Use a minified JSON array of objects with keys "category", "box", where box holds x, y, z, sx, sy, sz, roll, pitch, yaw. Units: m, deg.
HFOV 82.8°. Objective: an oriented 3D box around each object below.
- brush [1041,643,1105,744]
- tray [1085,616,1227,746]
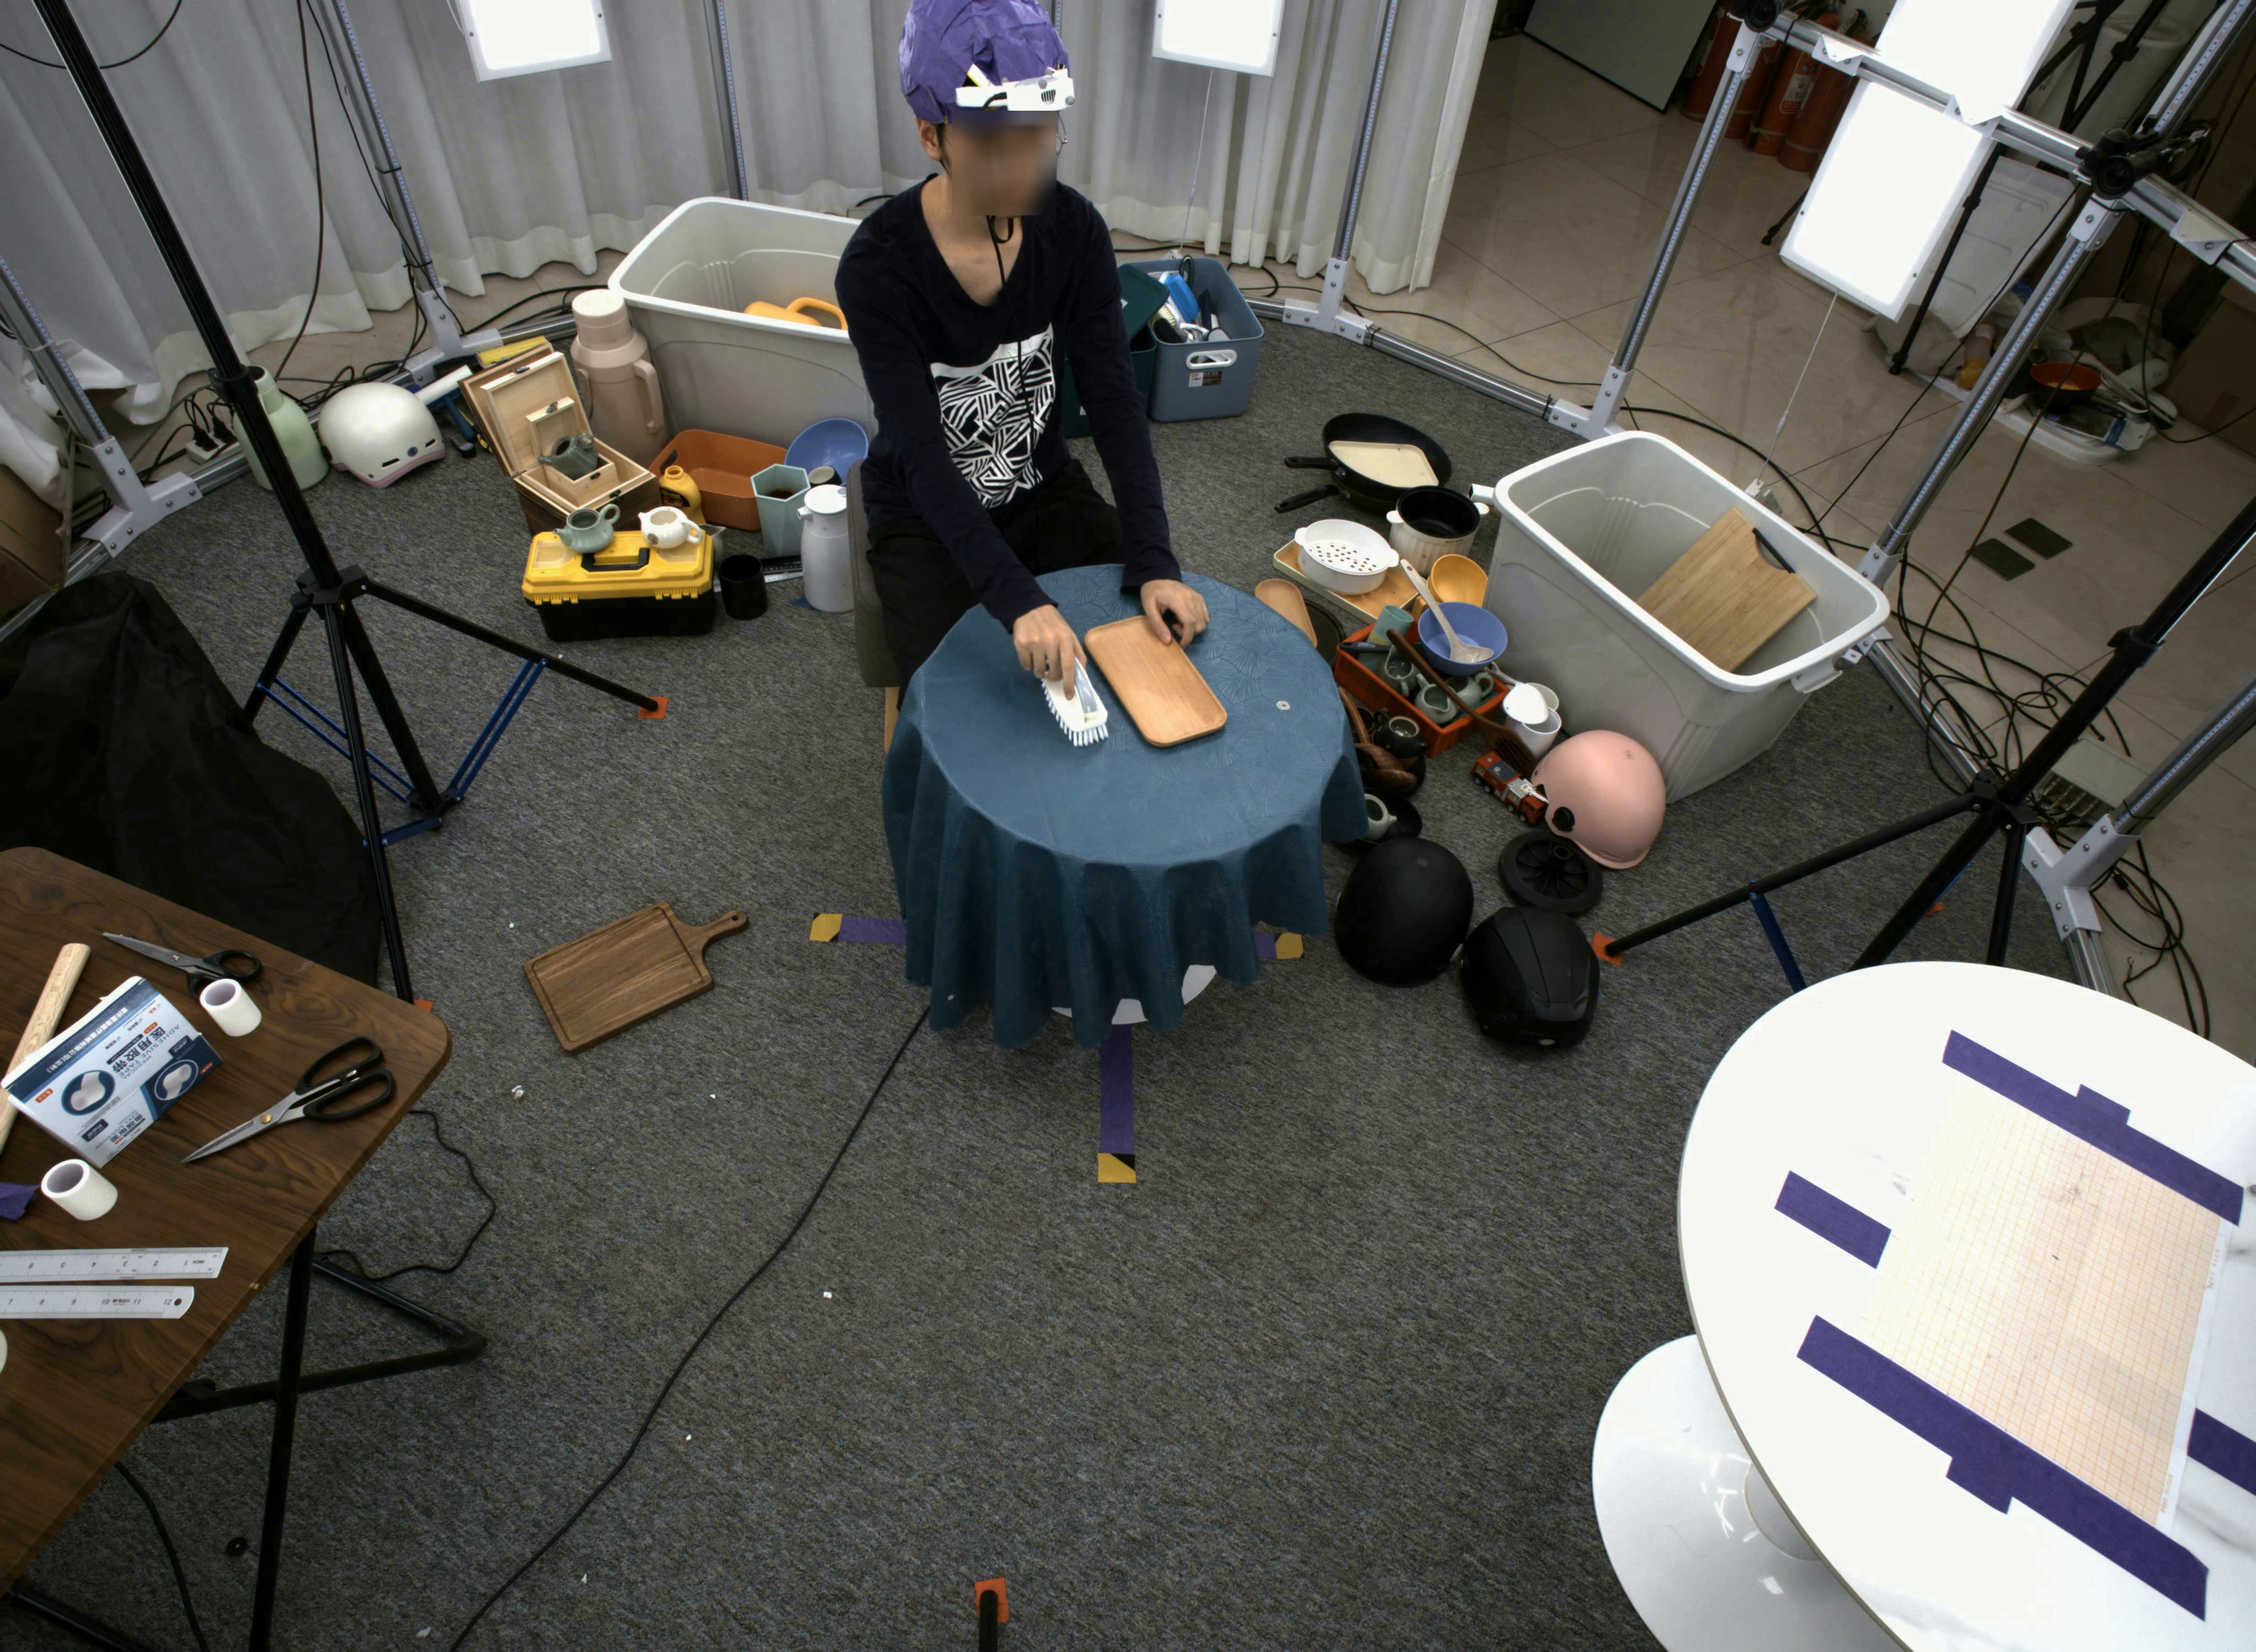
[{"category":"brush","box":[-0.085,-0.202,1.779,0.061,0.092,0.179,-16,50,-16]},{"category":"tray","box":[0.037,-0.211,1.843,0.130,0.022,0.256,-15,50,-19]}]
